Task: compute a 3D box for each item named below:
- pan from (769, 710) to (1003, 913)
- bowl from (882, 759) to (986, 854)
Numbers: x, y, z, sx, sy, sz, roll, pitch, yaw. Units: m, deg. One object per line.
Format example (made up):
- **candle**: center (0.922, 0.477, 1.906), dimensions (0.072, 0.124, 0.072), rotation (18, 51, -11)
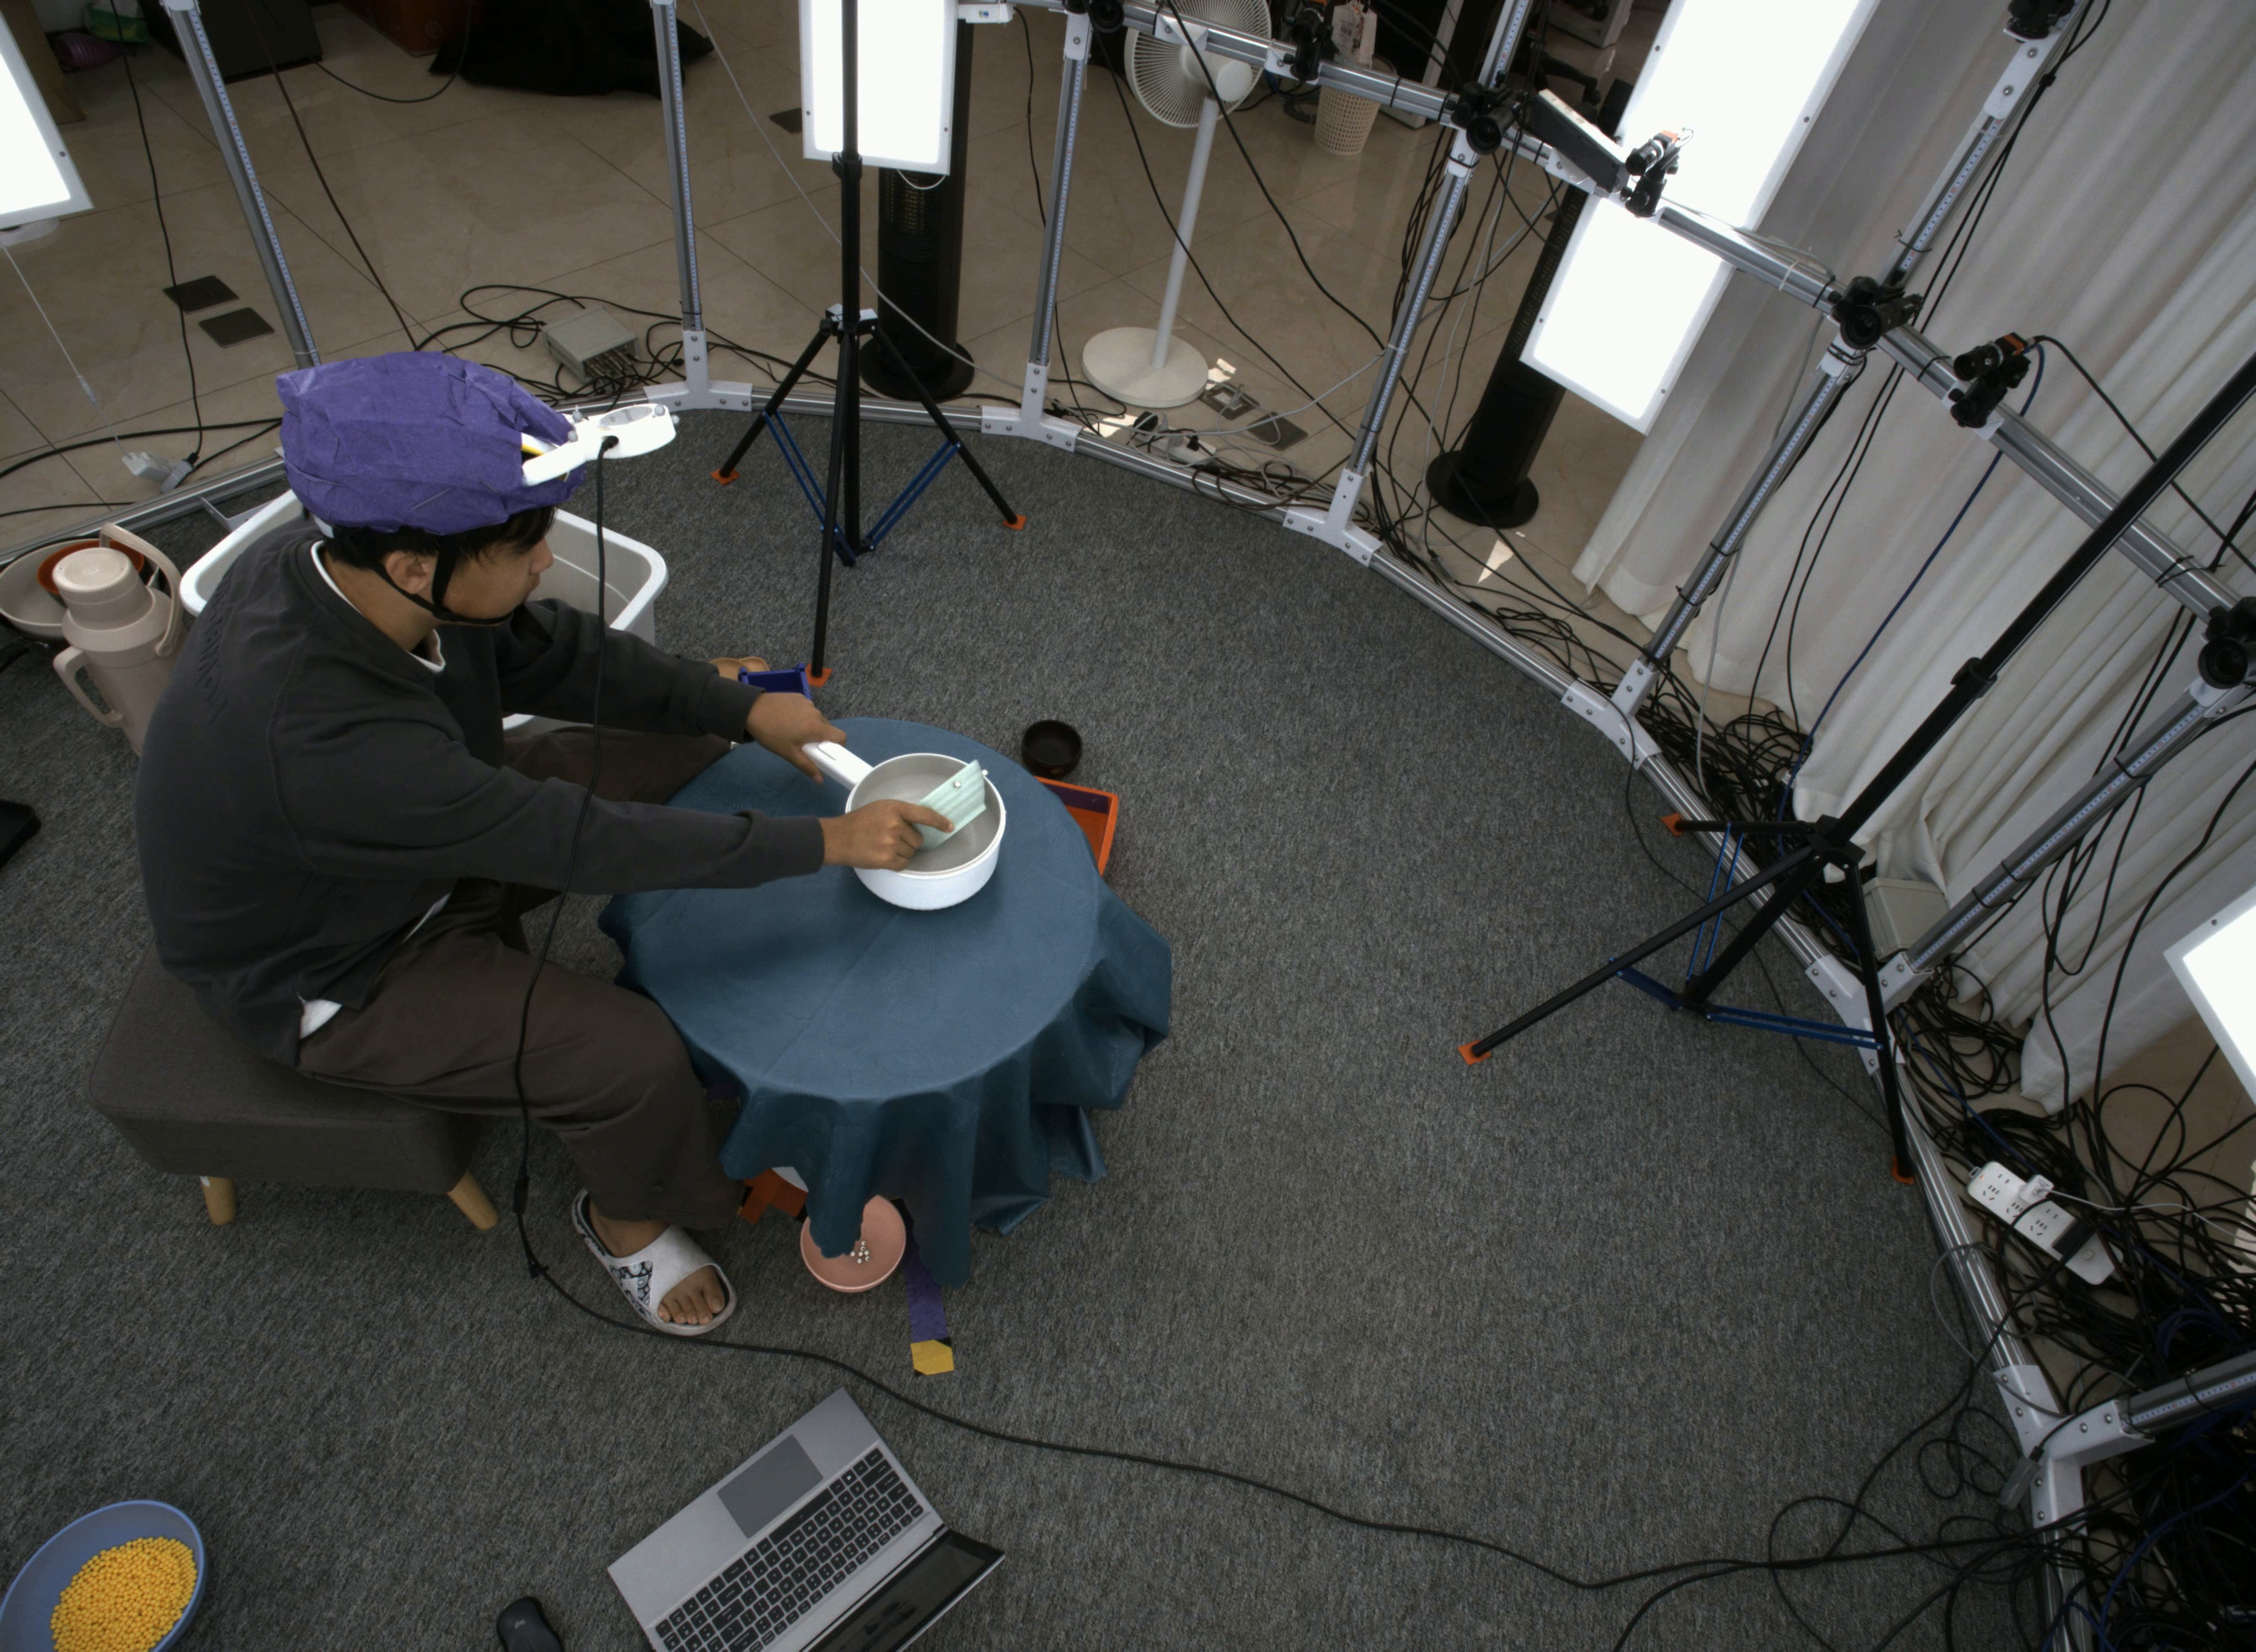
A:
- **pan**: center (-0.326, -0.026, 1.706), dimensions (0.348, 0.104, 0.201), rotation (32, 55, 13)
- **bowl**: center (-0.234, -0.017, 1.640), dimensions (0.151, 0.149, 0.059), rotation (-41, 96, -35)
